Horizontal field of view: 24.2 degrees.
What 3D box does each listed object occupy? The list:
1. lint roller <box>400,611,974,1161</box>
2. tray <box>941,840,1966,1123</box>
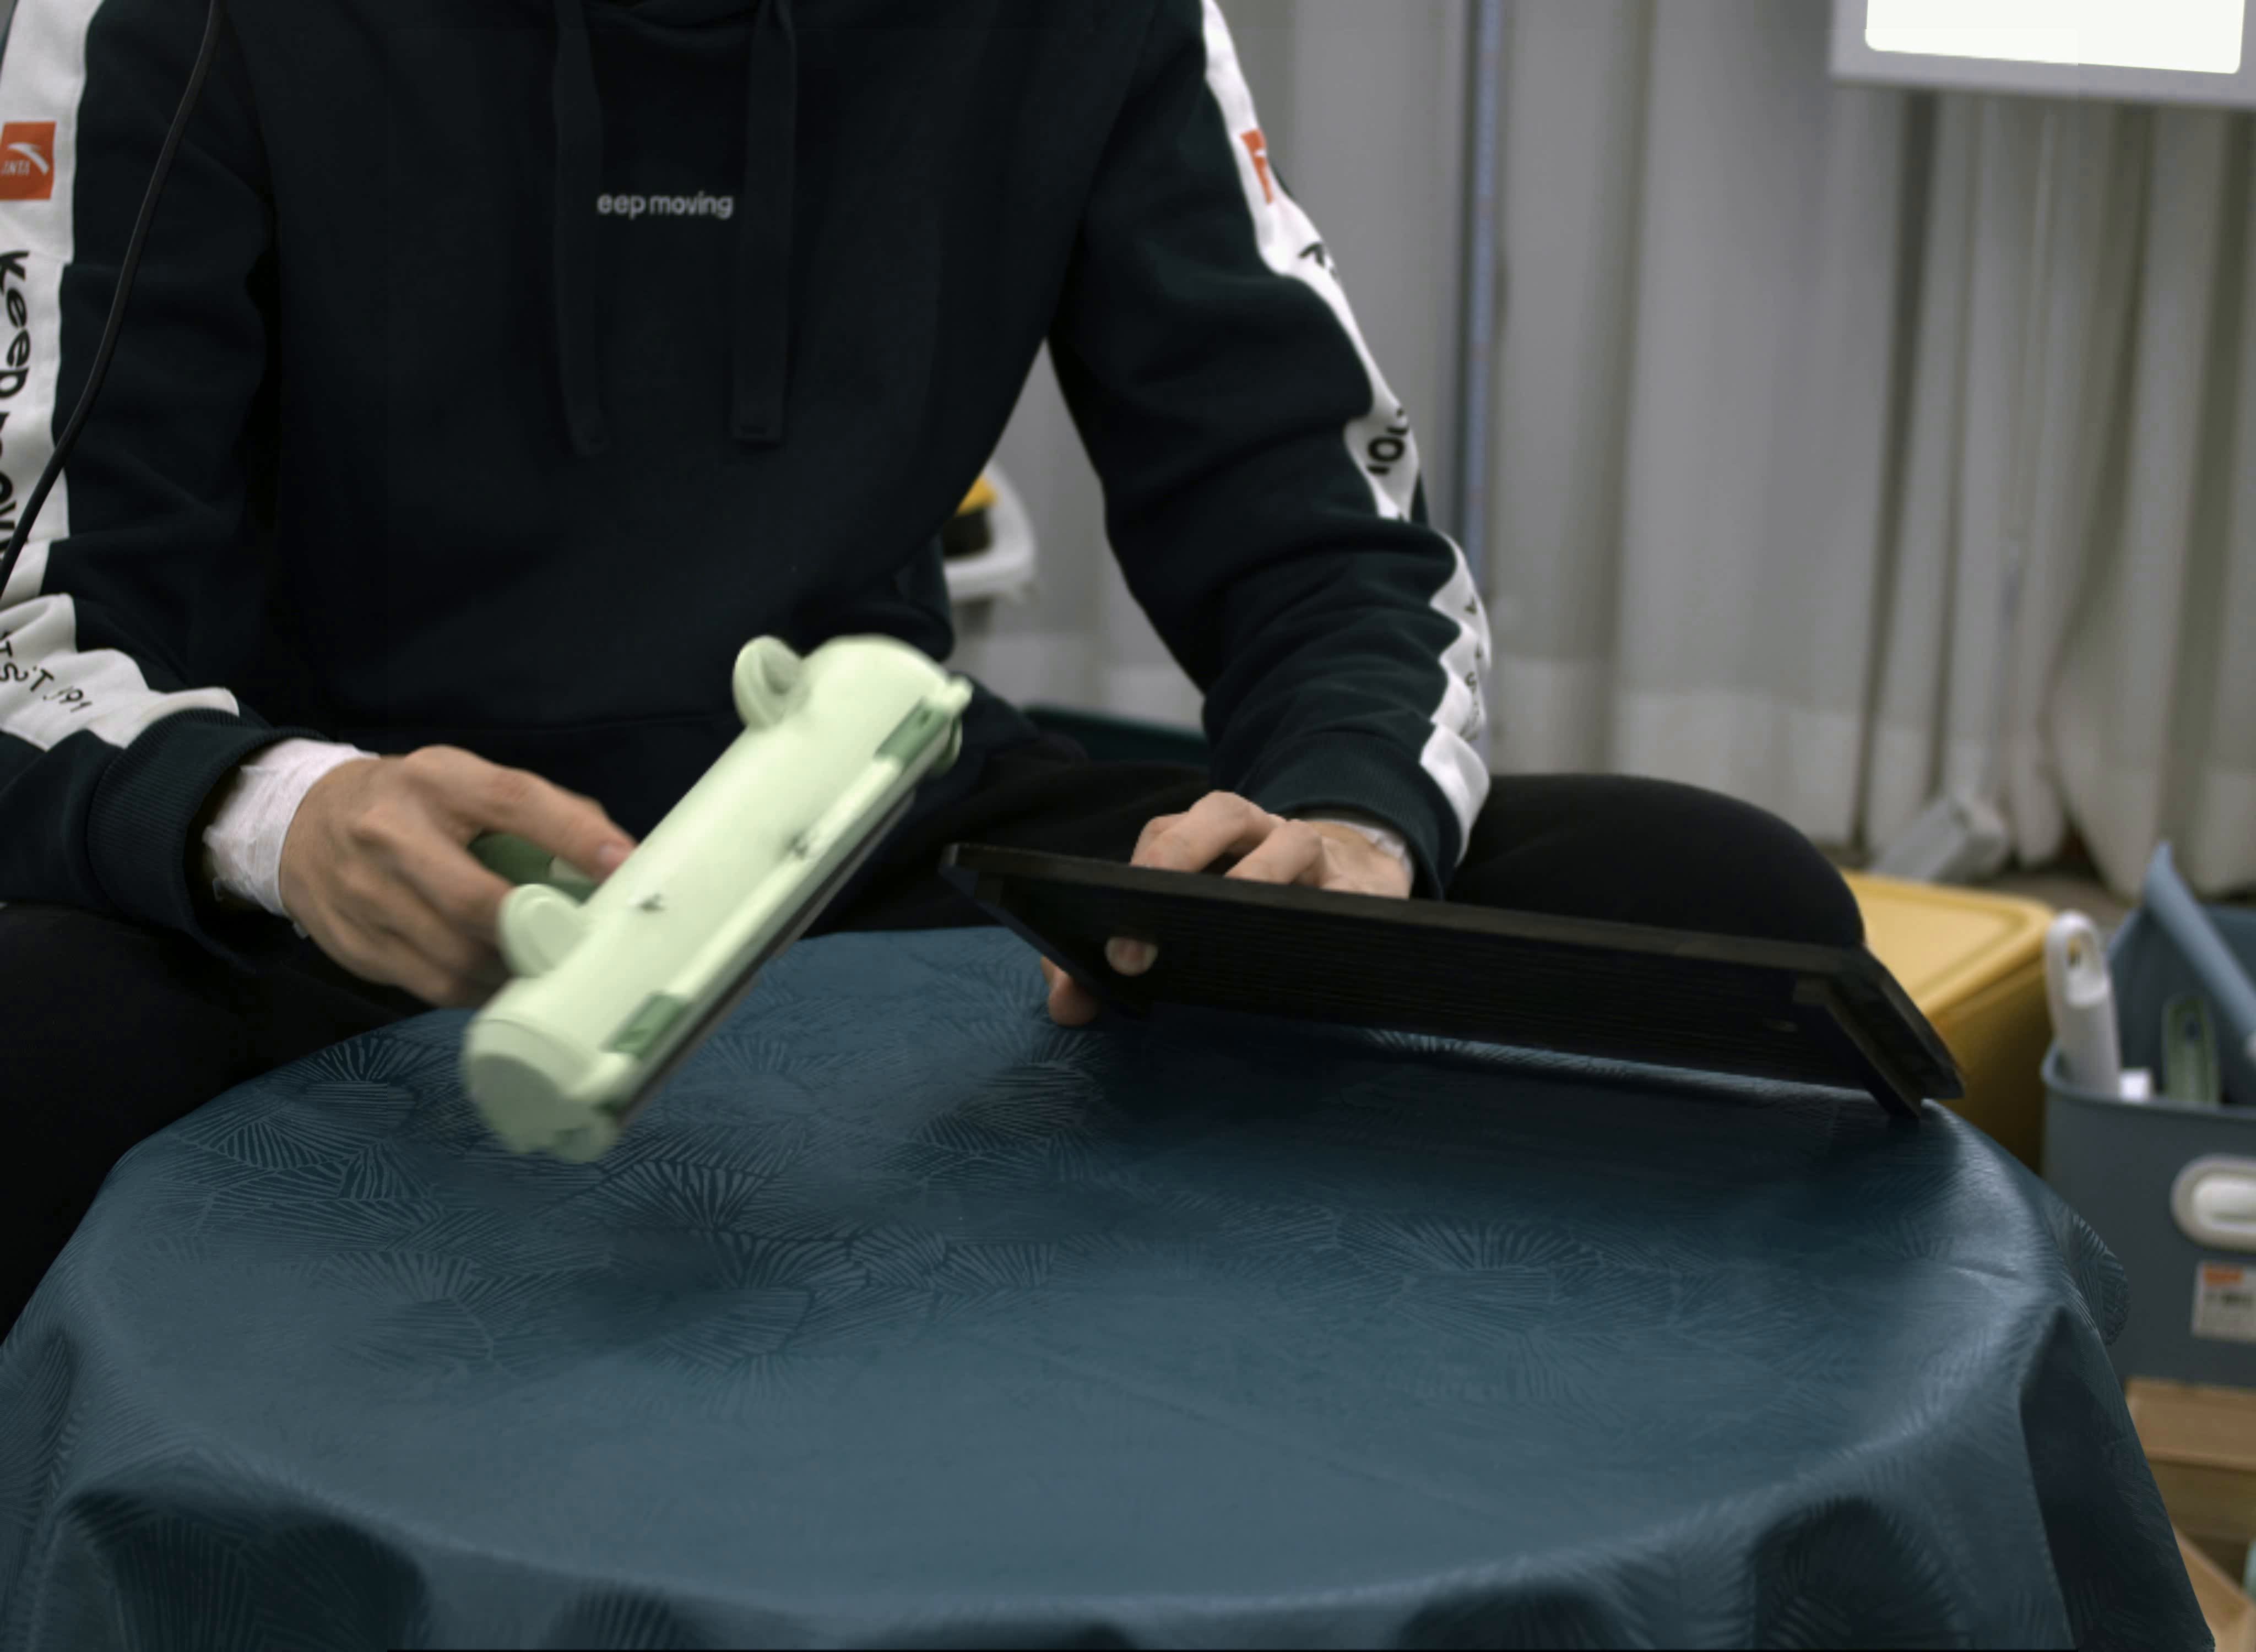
[{"bbox_3d":[-0.164,0.004,1.595,0.181,0.083,0.198,9,48,35],"label":"lint roller"},{"bbox_3d":[0.104,0.051,1.672,0.303,0.018,0.172,6,-15,20],"label":"tray"}]
